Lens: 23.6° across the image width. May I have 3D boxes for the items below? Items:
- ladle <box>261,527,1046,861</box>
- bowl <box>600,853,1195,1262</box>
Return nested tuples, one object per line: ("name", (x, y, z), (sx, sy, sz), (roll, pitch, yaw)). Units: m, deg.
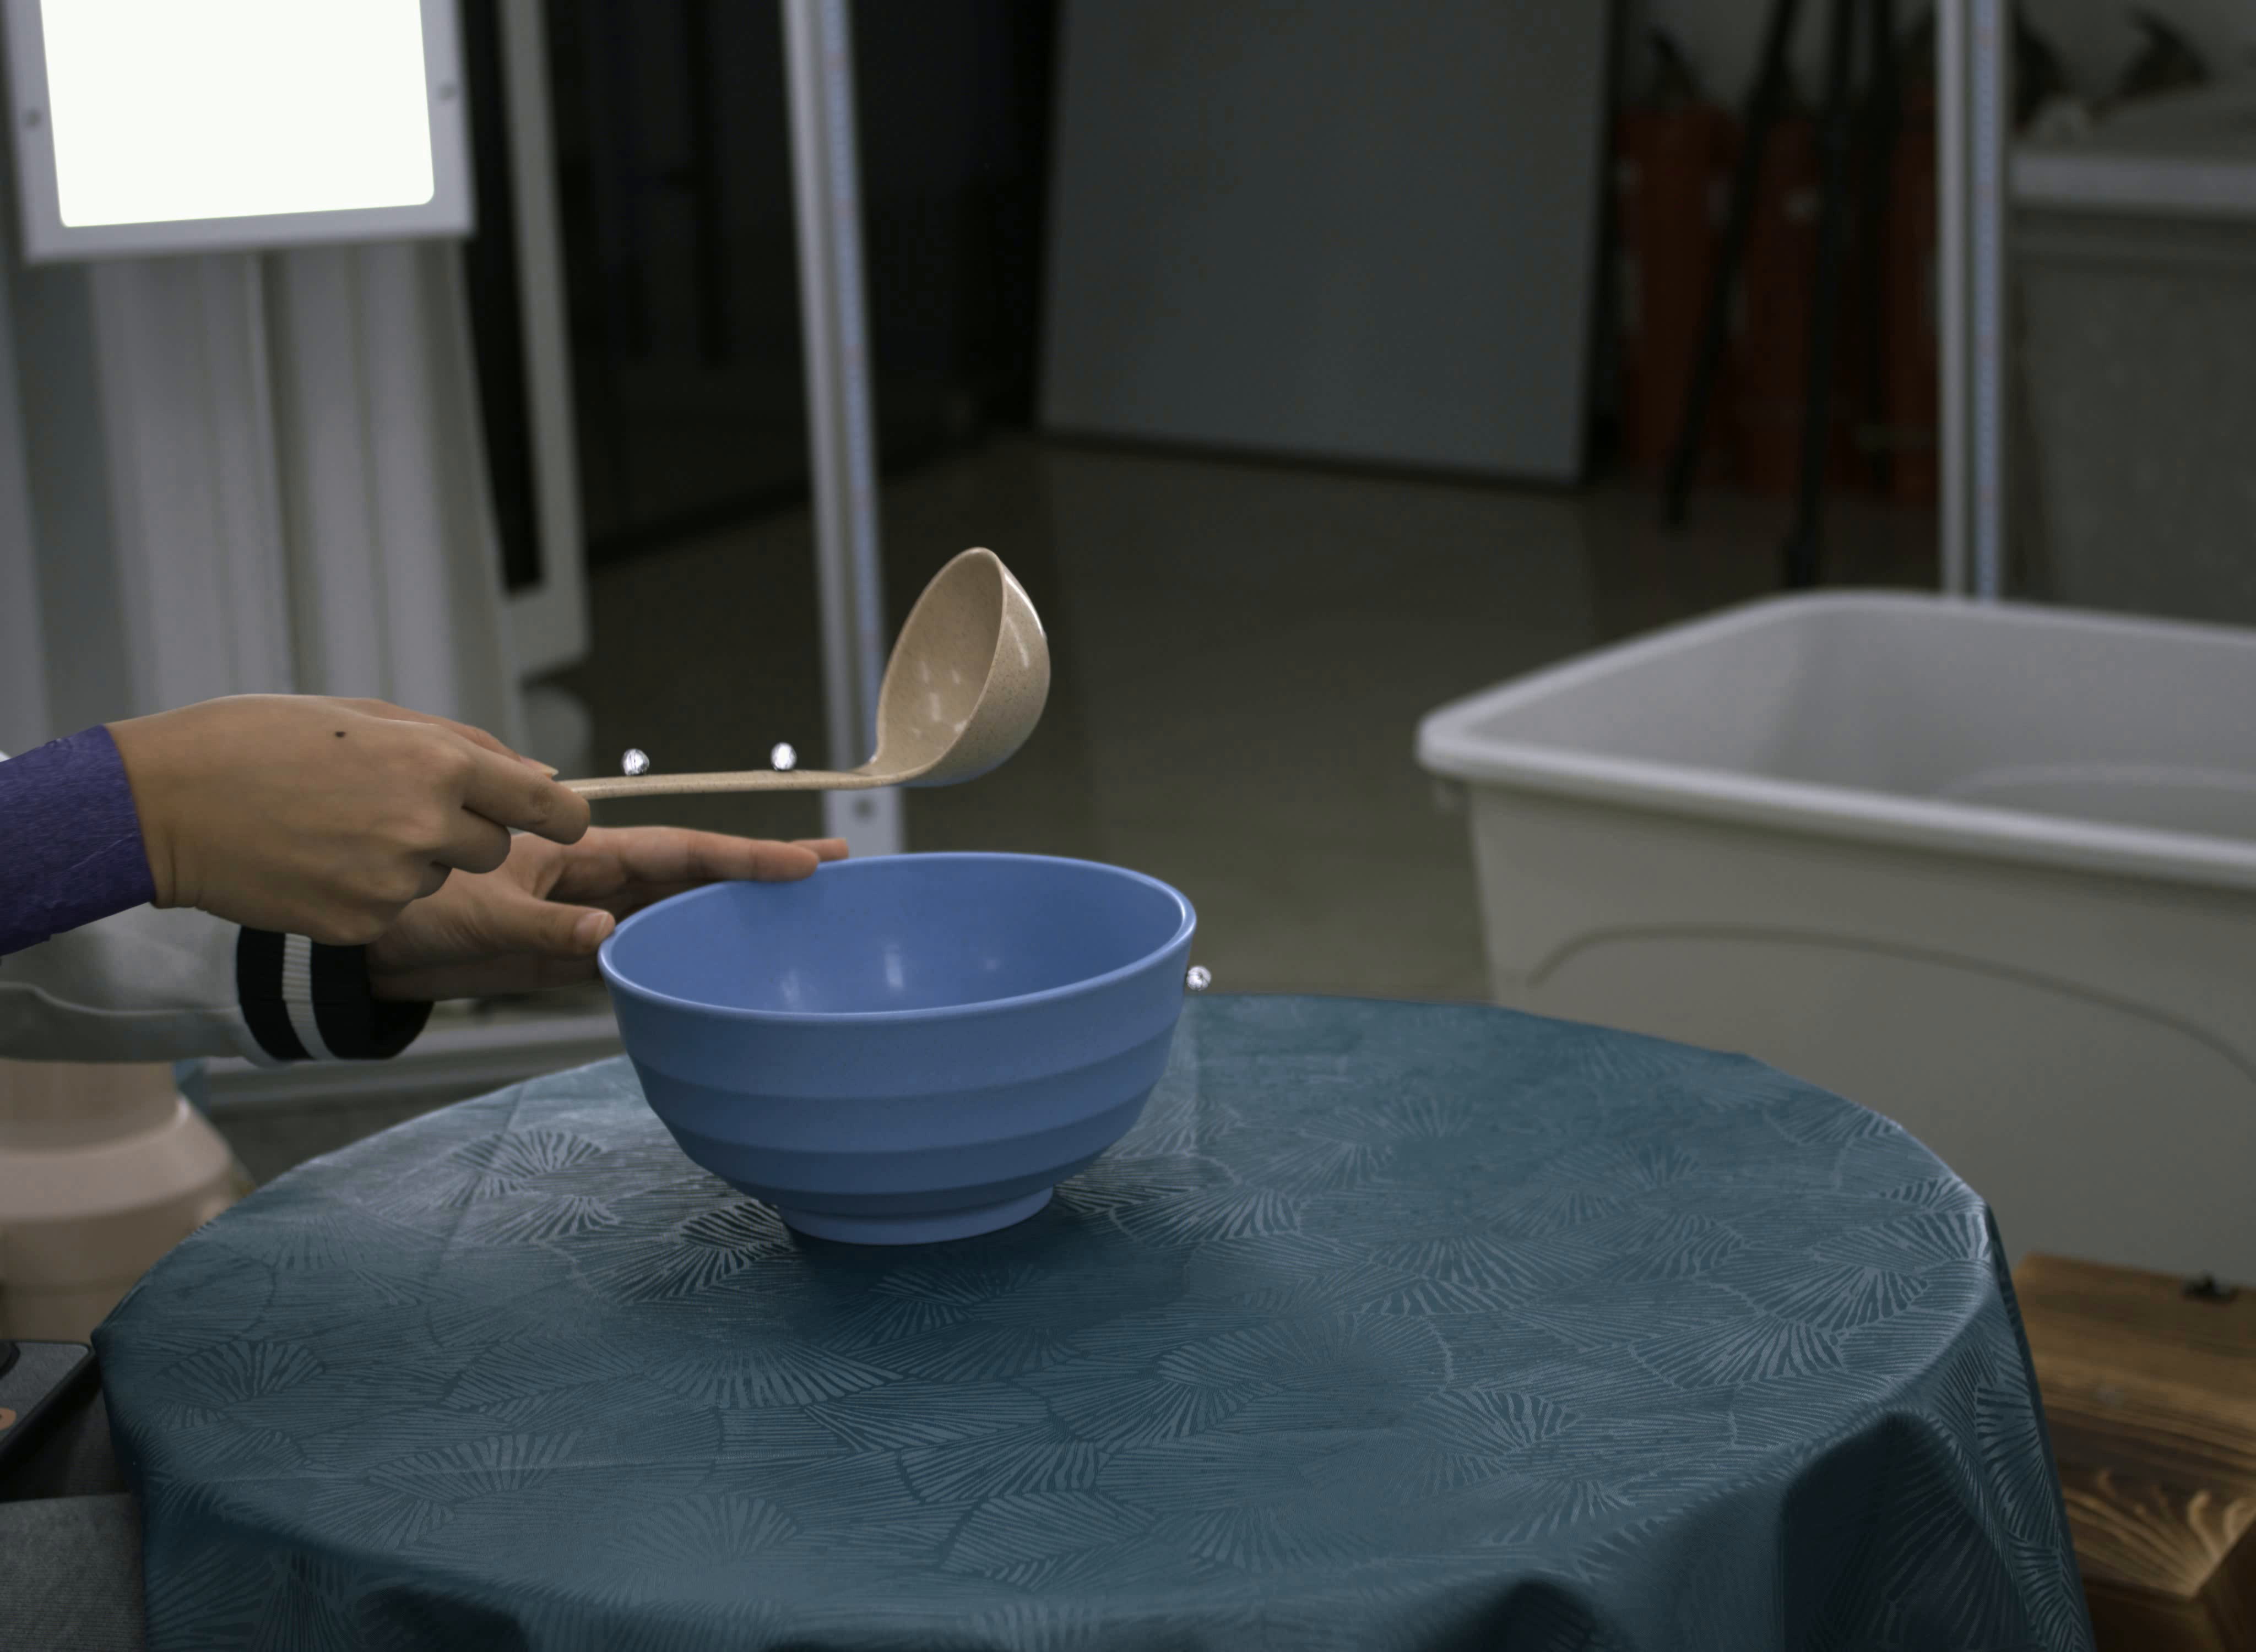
("ladle", (-0.142, -0.042, 1.615), (0.249, 0.073, 0.073), (-8, 9, -28))
("bowl", (-0.072, 0.082, 1.765), (0.194, 0.096, 0.197), (-5, 15, 0))
